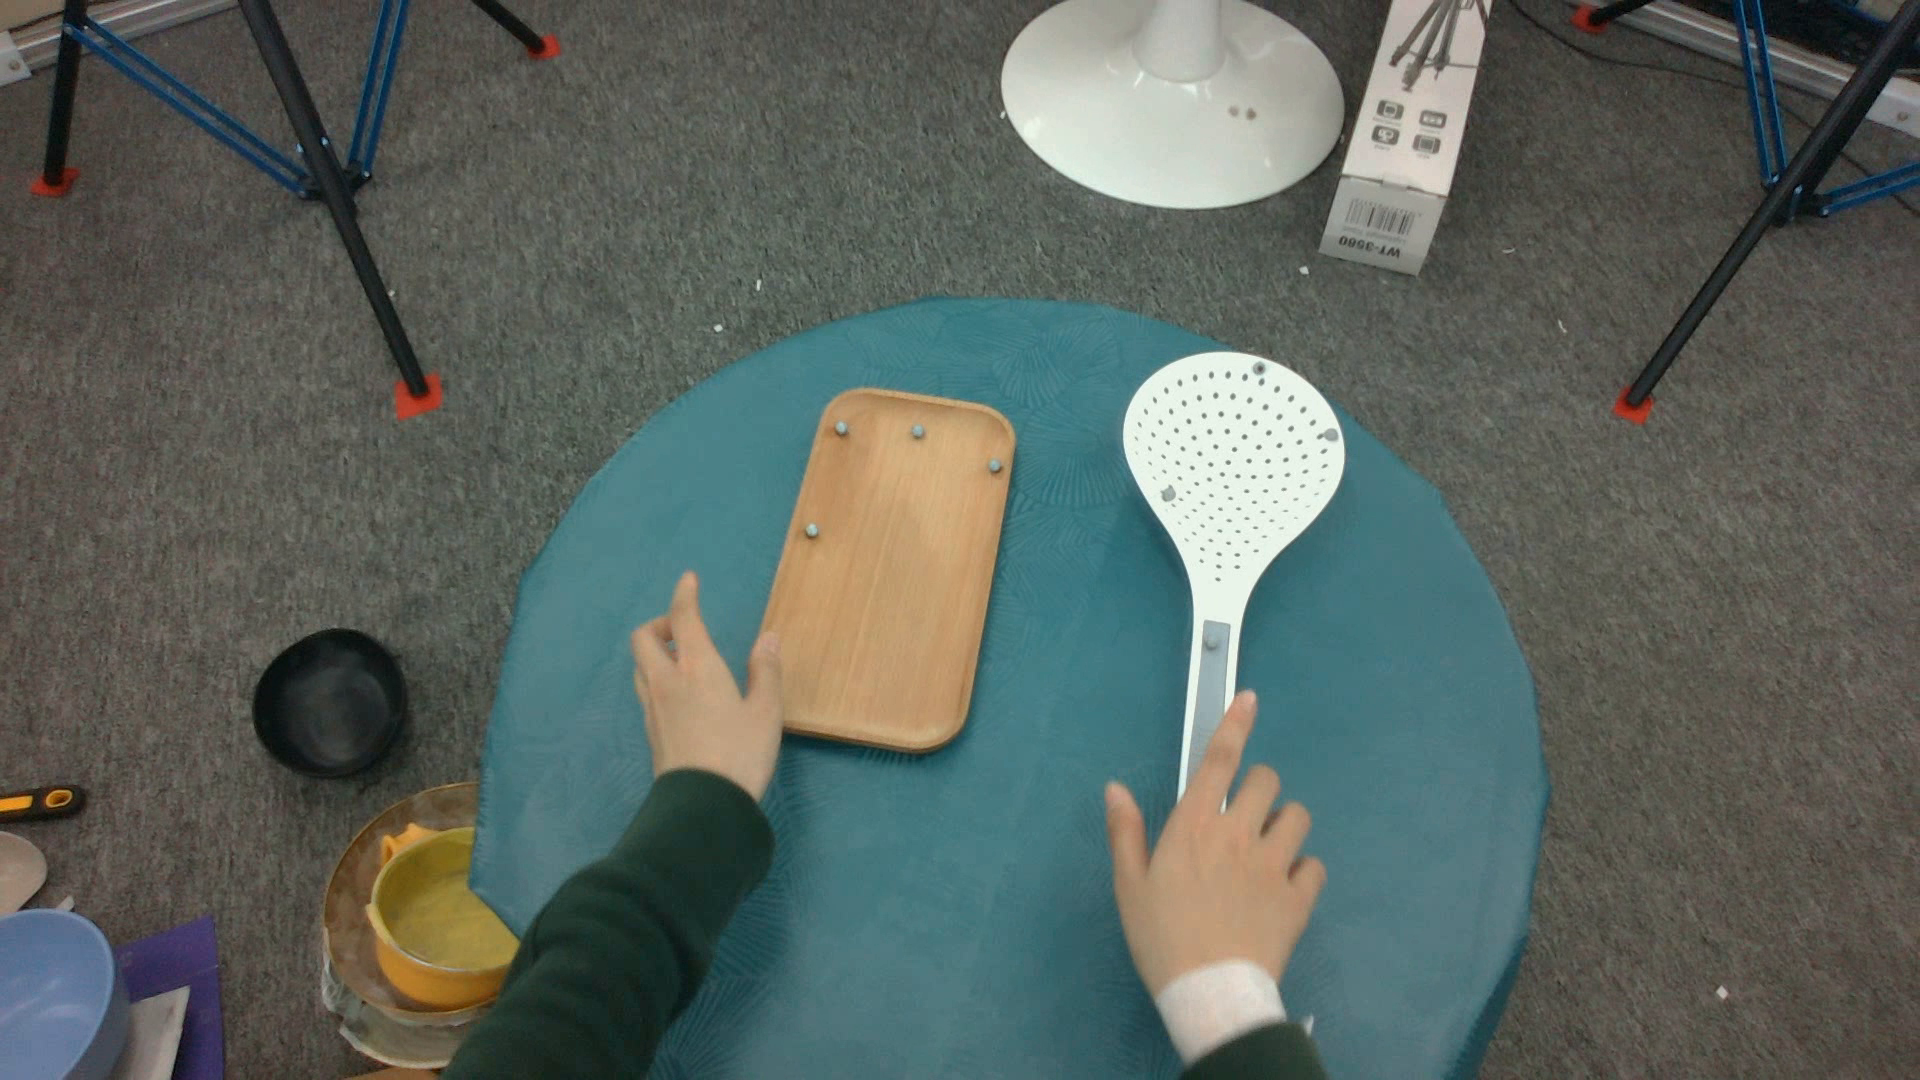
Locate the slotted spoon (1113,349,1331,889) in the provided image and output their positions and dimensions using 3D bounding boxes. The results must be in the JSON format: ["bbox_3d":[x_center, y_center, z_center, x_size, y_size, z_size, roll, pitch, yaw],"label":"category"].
[{"bbox_3d":[0.144,0.032,0.809,0.136,0.045,0.351,9,56,4],"label":"slotted spoon"}]

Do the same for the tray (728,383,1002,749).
[{"bbox_3d":[-0.052,0.008,0.831,0.130,0.023,0.252,8,56,4],"label":"tray"}]
